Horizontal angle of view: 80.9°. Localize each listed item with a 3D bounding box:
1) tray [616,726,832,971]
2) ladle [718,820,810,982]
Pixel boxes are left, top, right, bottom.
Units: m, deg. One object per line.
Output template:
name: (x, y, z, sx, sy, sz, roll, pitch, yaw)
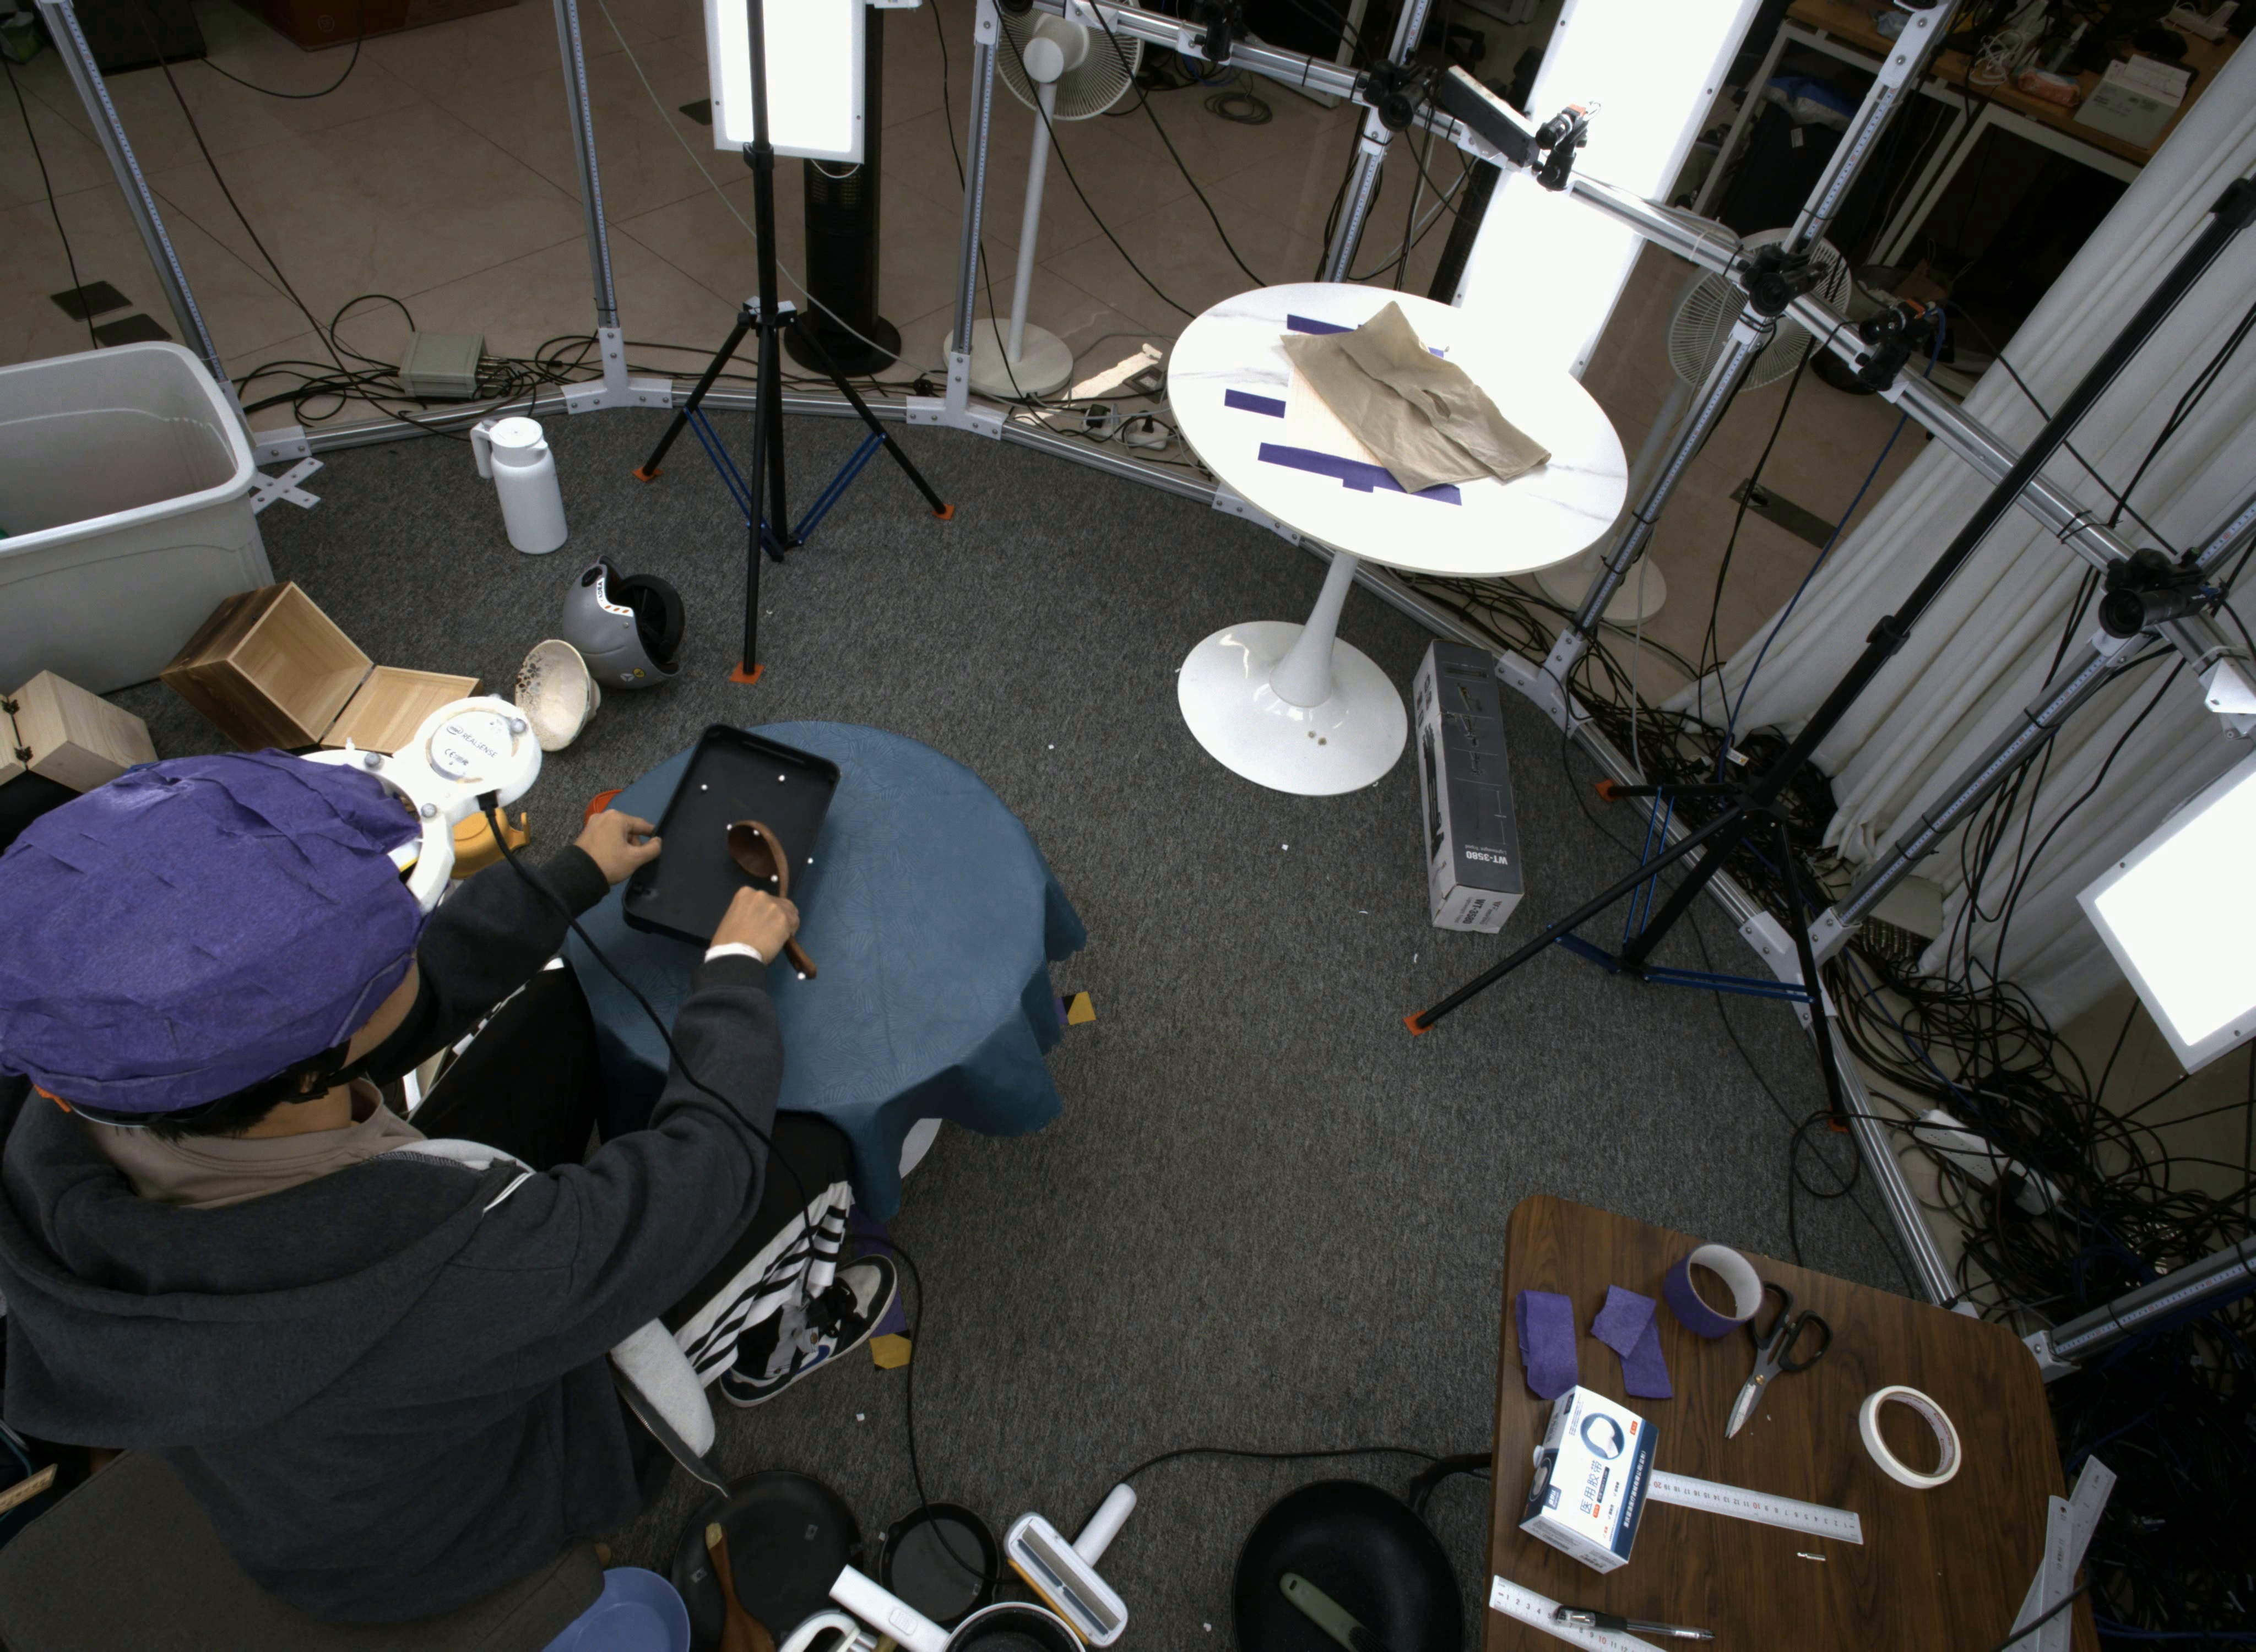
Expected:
tray: (-0.491, 0.020, 1.586, 0.185, 0.037, 0.313, 20, 47, -13)
ladle: (-0.426, 0.088, 1.503, 0.065, 0.078, 0.252, -8, 44, -22)
